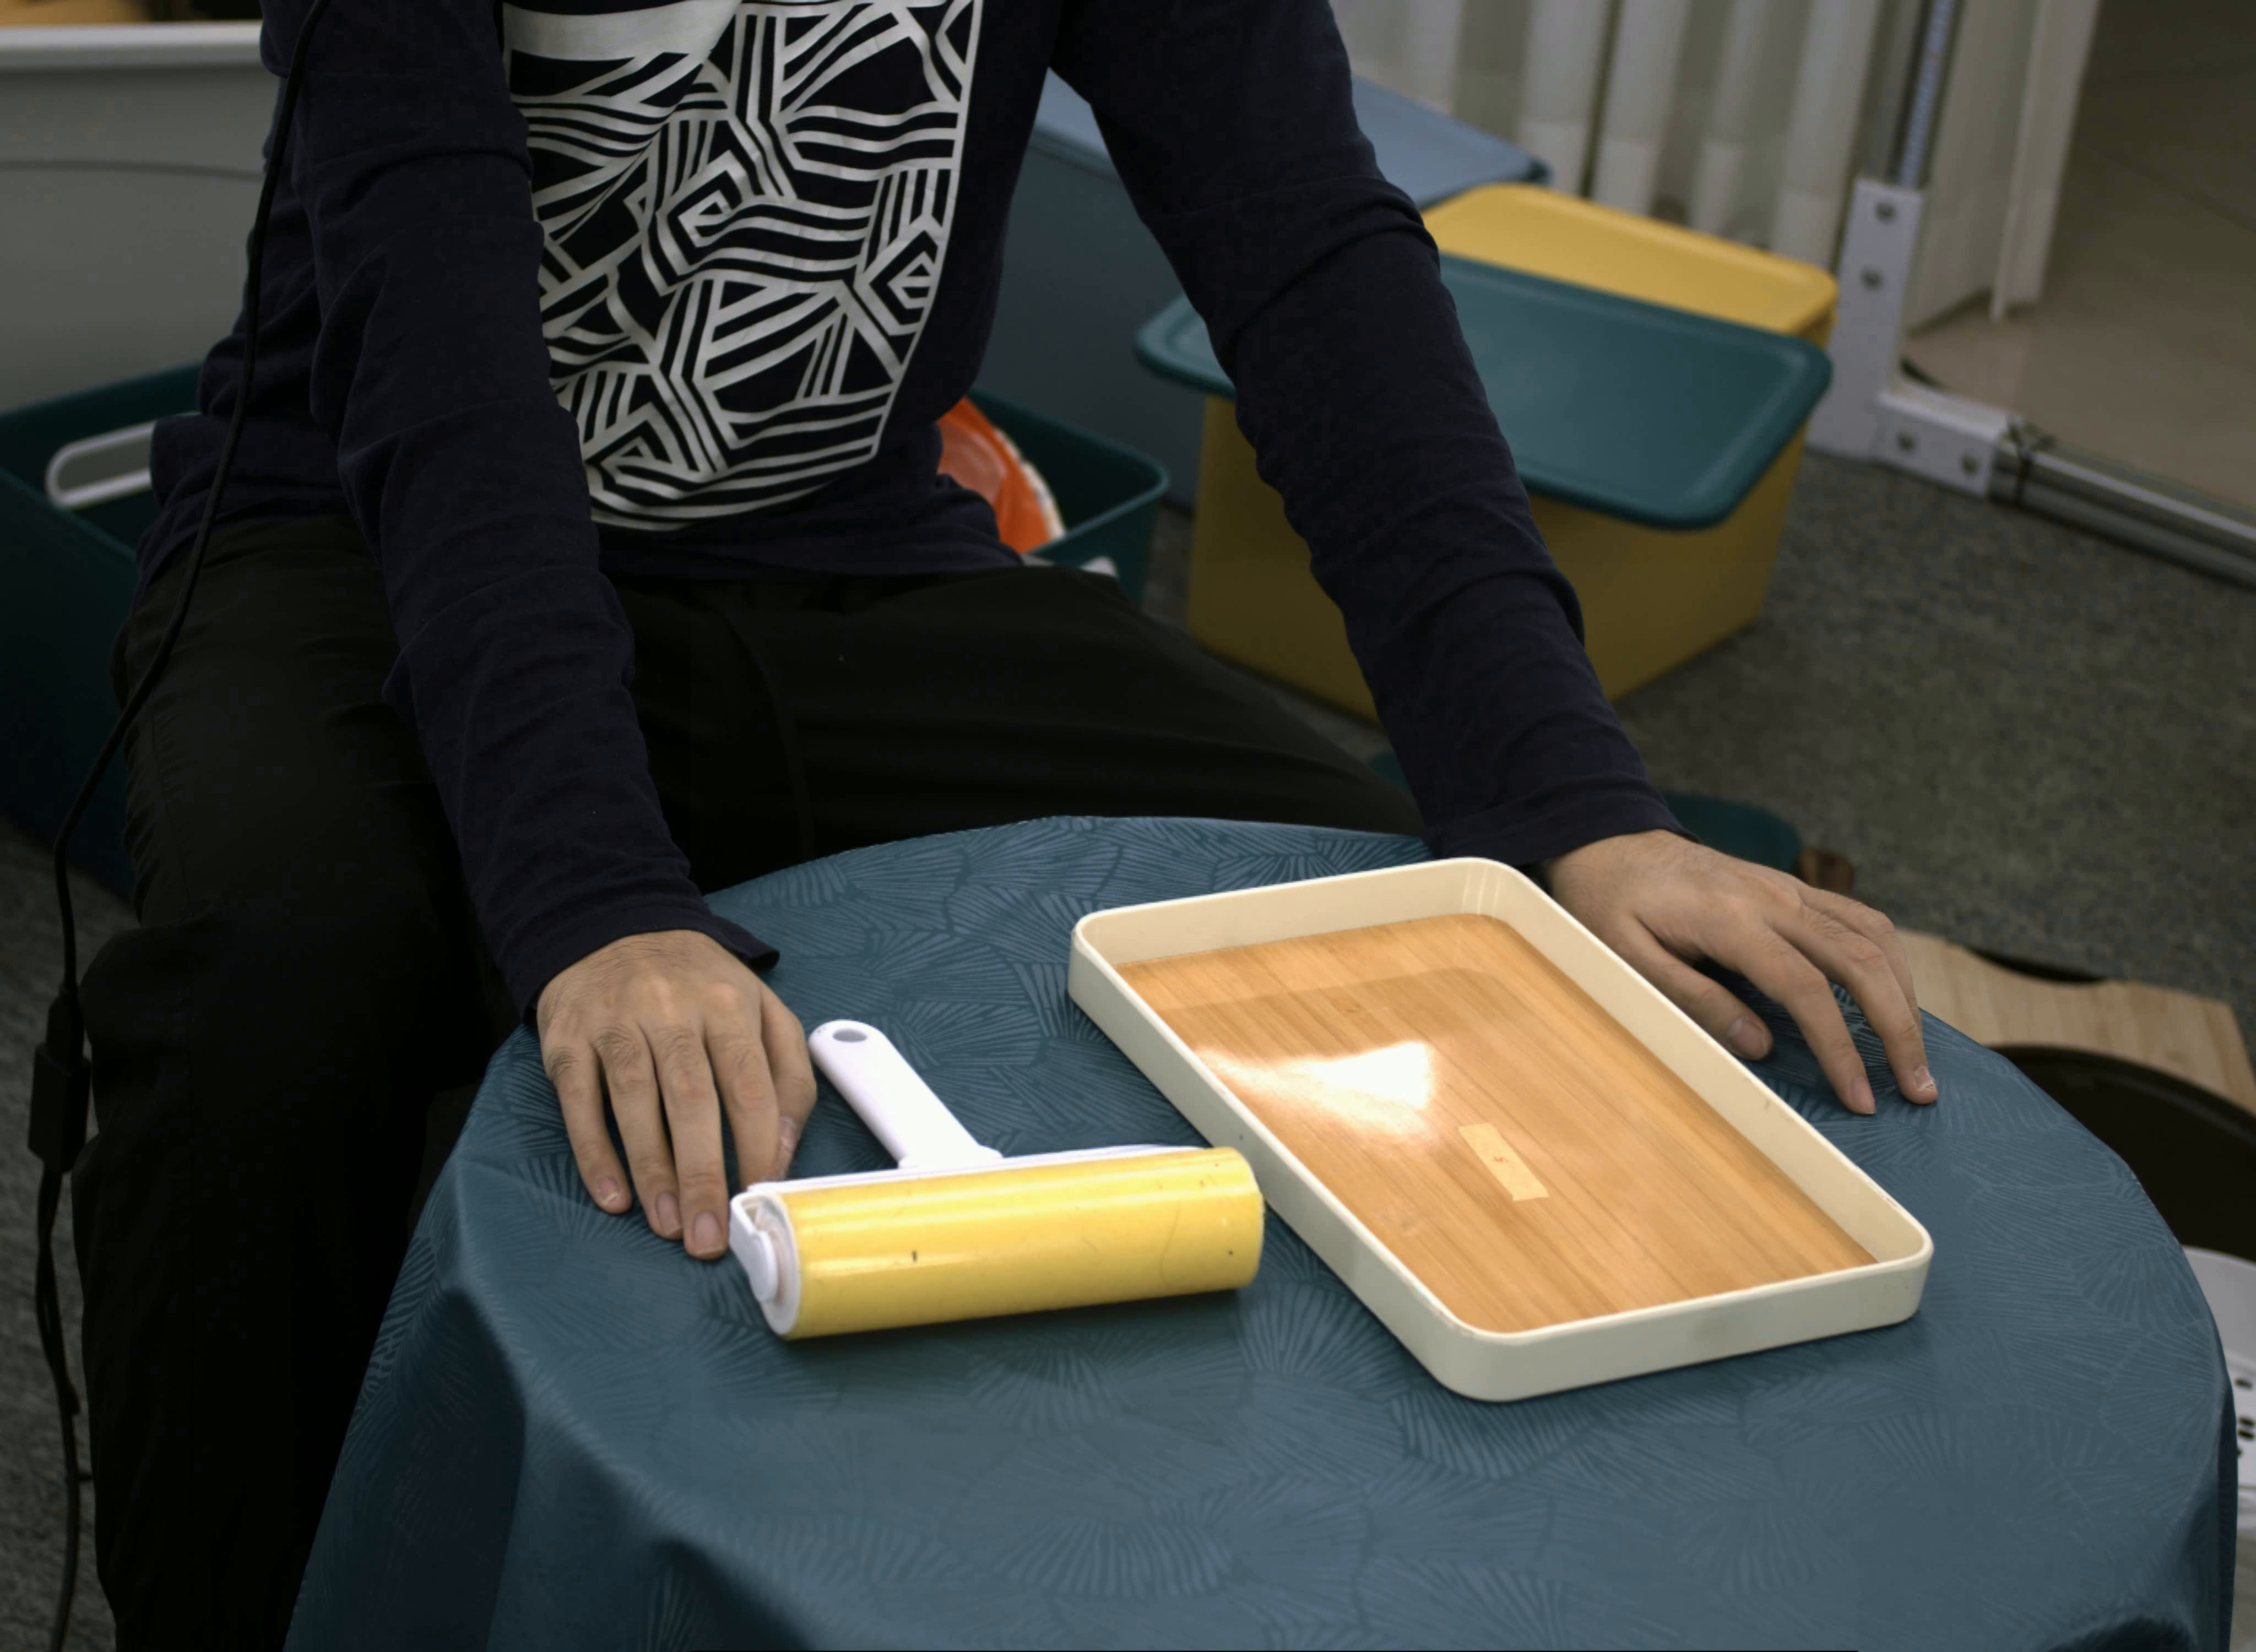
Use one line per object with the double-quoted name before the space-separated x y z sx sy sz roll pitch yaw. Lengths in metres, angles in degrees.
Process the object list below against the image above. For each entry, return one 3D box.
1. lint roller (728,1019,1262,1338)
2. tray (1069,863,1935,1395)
"lint roller" -0.067 0.101 1.780 0.173 0.051 0.194 -5 31 -23
"tray" 0.124 0.099 1.852 0.190 0.027 0.303 -7 29 -27
